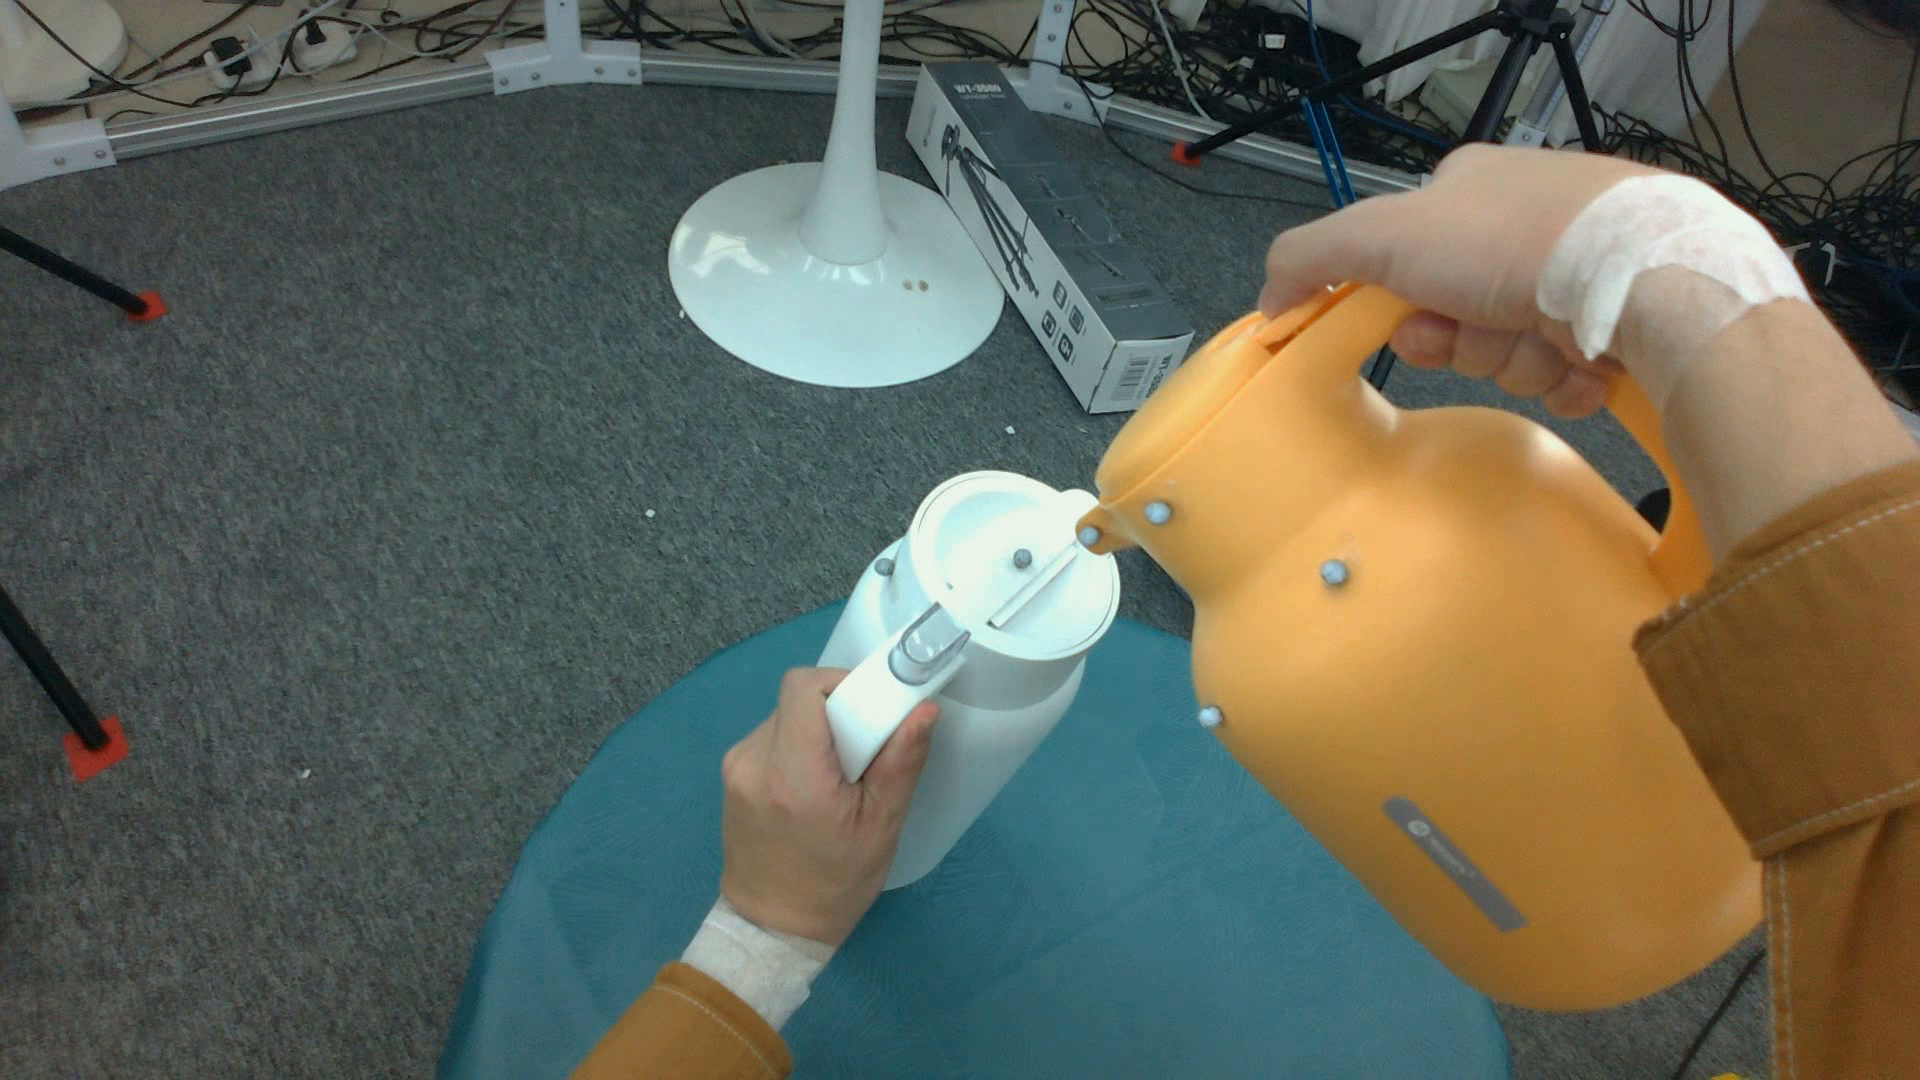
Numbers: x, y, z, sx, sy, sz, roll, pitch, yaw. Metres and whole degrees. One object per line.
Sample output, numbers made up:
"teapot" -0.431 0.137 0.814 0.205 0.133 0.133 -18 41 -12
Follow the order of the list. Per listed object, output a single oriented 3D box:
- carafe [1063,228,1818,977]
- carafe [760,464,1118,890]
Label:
"carafe" 0.173 0.017 0.491 0.260 0.201 0.164 40 45 -5
"carafe" -0.028 0.088 0.689 0.124 0.267 0.173 43 52 7
